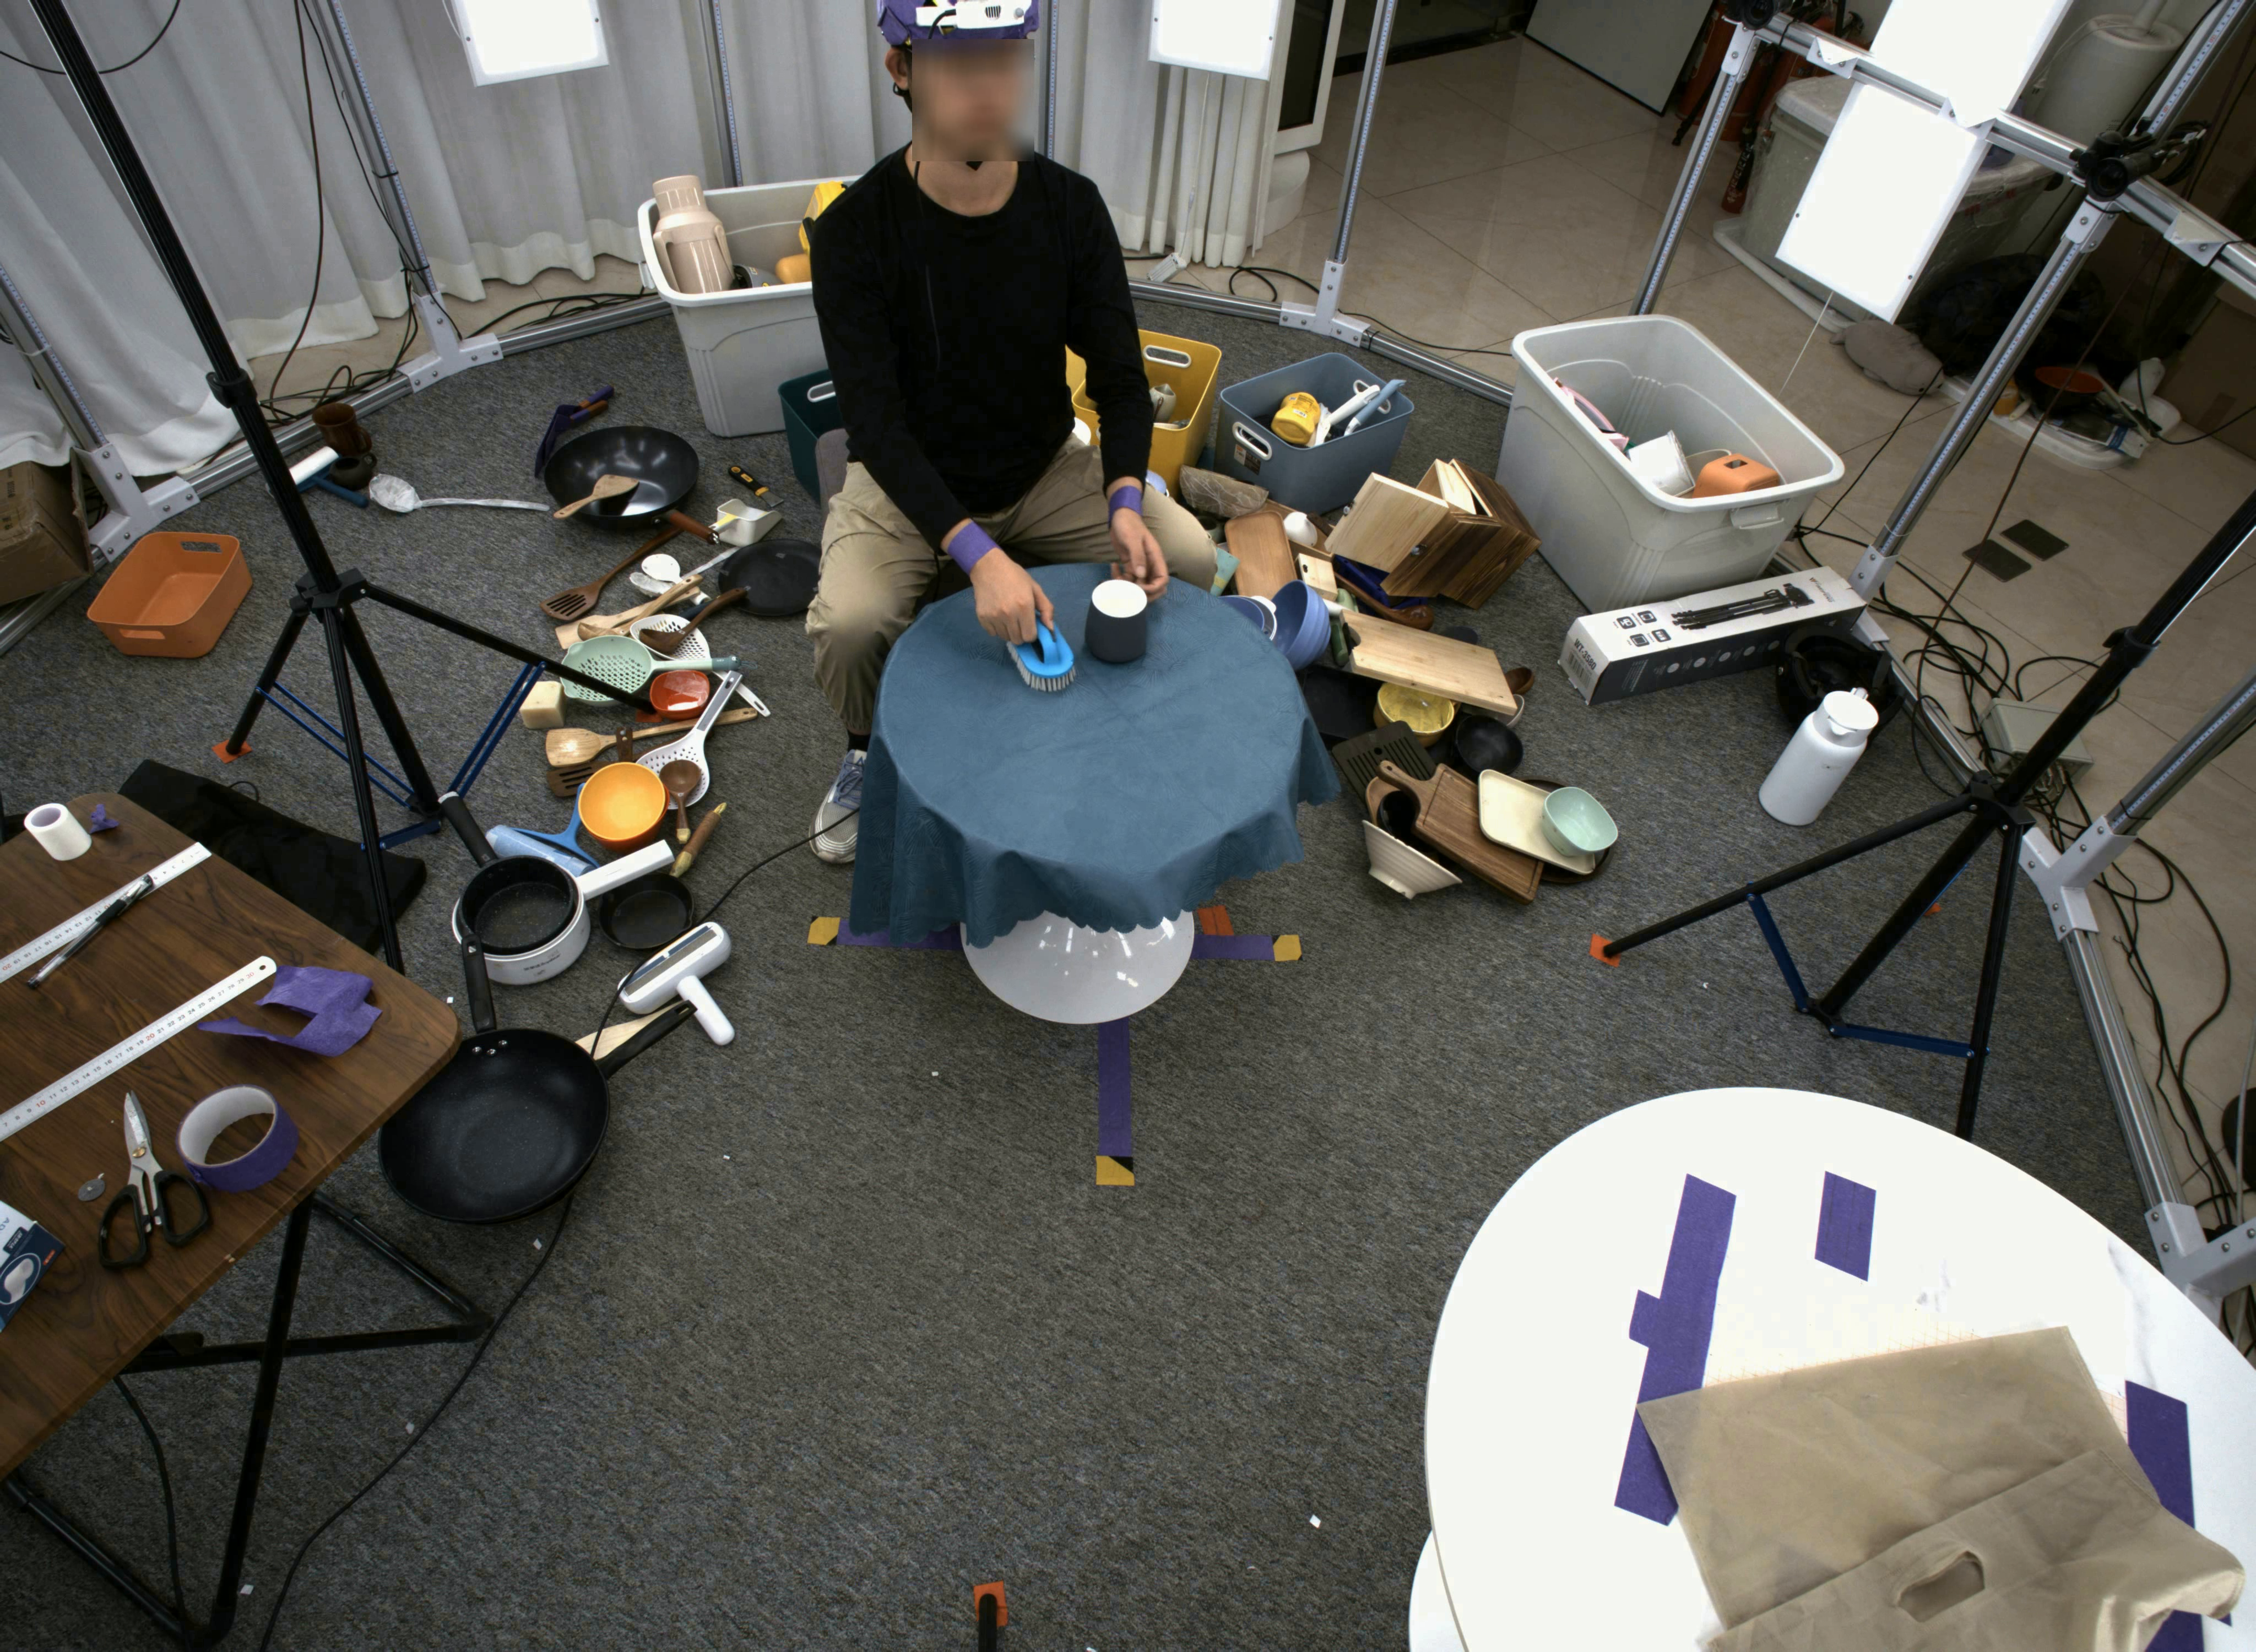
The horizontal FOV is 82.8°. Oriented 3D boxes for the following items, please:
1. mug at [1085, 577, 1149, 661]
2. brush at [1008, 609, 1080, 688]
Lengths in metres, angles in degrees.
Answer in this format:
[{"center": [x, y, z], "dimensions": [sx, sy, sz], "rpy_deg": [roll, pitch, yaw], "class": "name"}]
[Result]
[{"center": [-0.019, -0.309, 1.873], "dimensions": [0.093, 0.088, 0.126], "rpy_deg": [-10, 52, -14], "class": "mug"}, {"center": [-0.123, -0.266, 1.846], "dimensions": [0.084, 0.062, 0.145], "rpy_deg": [-18, 51, -13], "class": "brush"}]
